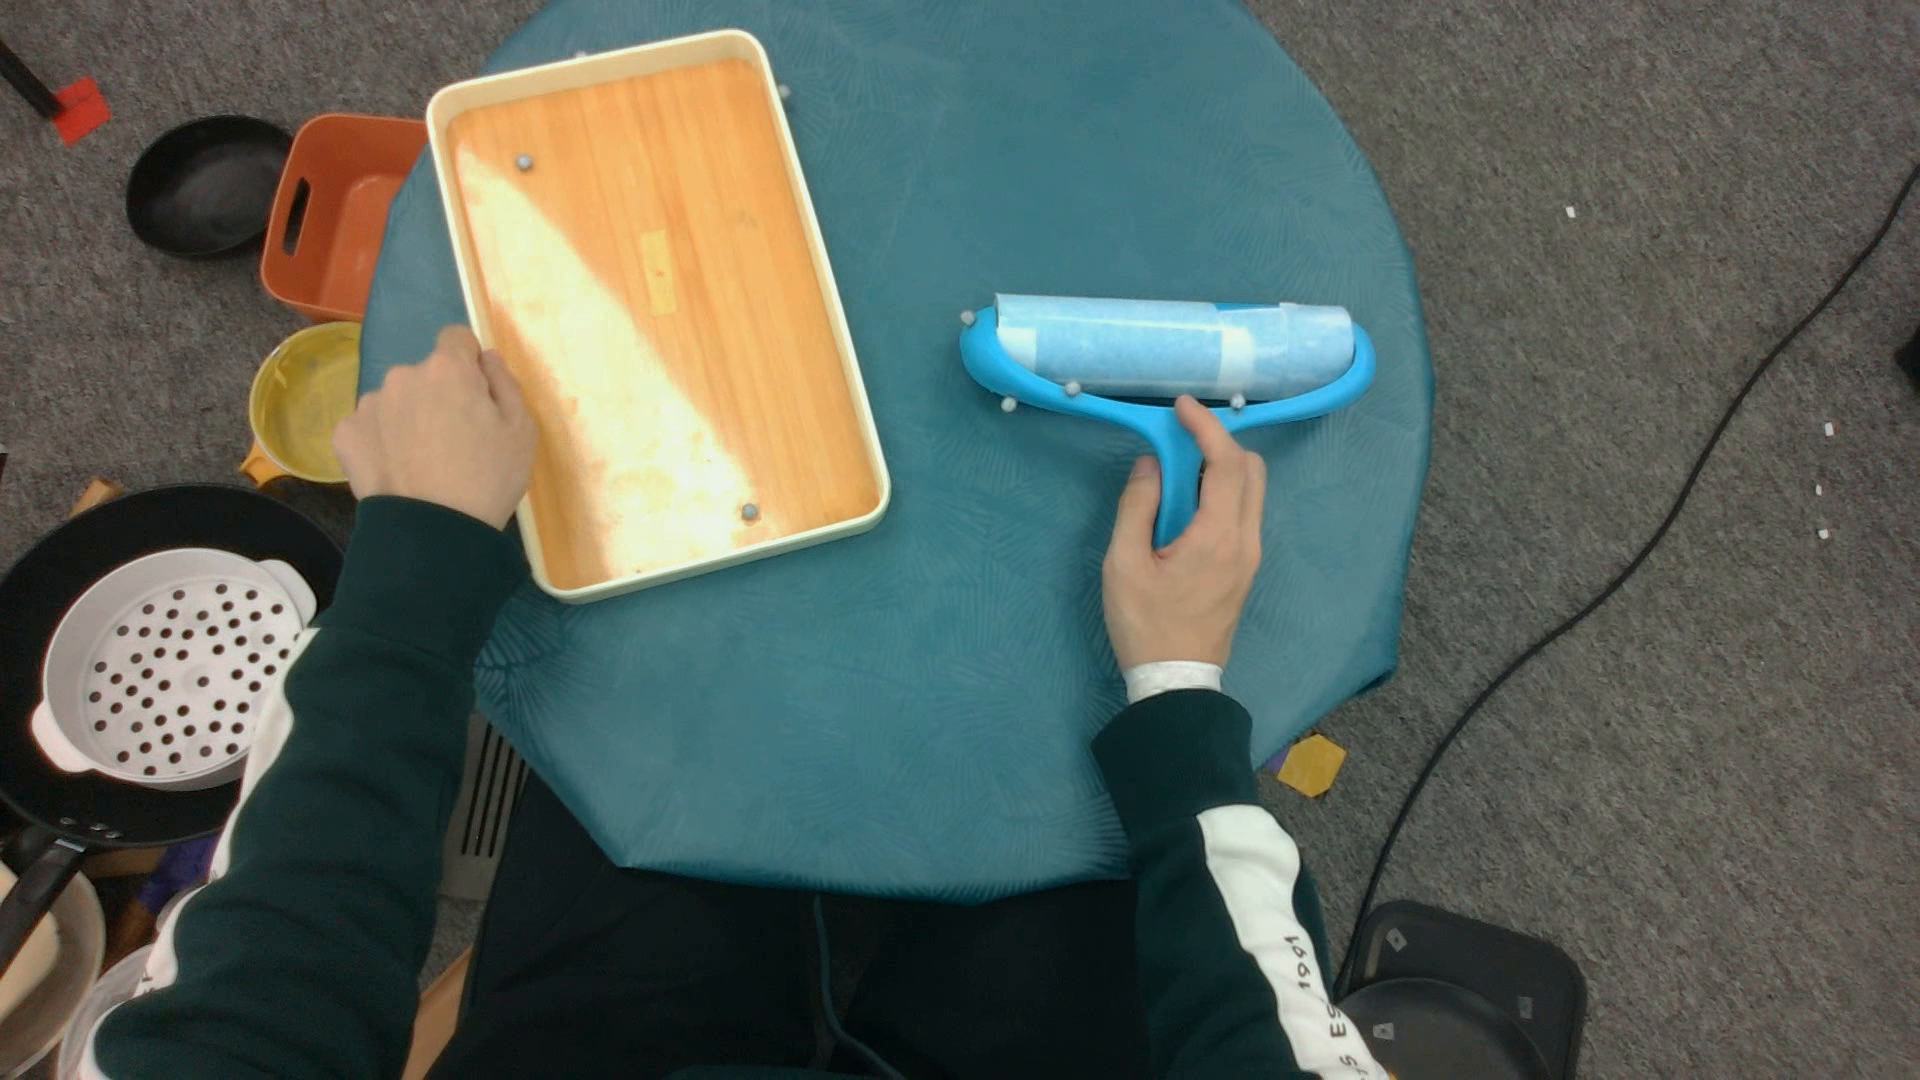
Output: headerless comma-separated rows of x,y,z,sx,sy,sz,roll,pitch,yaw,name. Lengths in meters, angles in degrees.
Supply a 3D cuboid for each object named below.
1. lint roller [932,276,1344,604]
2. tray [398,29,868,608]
0.104,-0.060,0.746,0.229,0.068,0.180,-4,76,-8,lint roller
-0.179,-0.127,0.751,0.192,0.027,0.300,-16,78,-9,tray
